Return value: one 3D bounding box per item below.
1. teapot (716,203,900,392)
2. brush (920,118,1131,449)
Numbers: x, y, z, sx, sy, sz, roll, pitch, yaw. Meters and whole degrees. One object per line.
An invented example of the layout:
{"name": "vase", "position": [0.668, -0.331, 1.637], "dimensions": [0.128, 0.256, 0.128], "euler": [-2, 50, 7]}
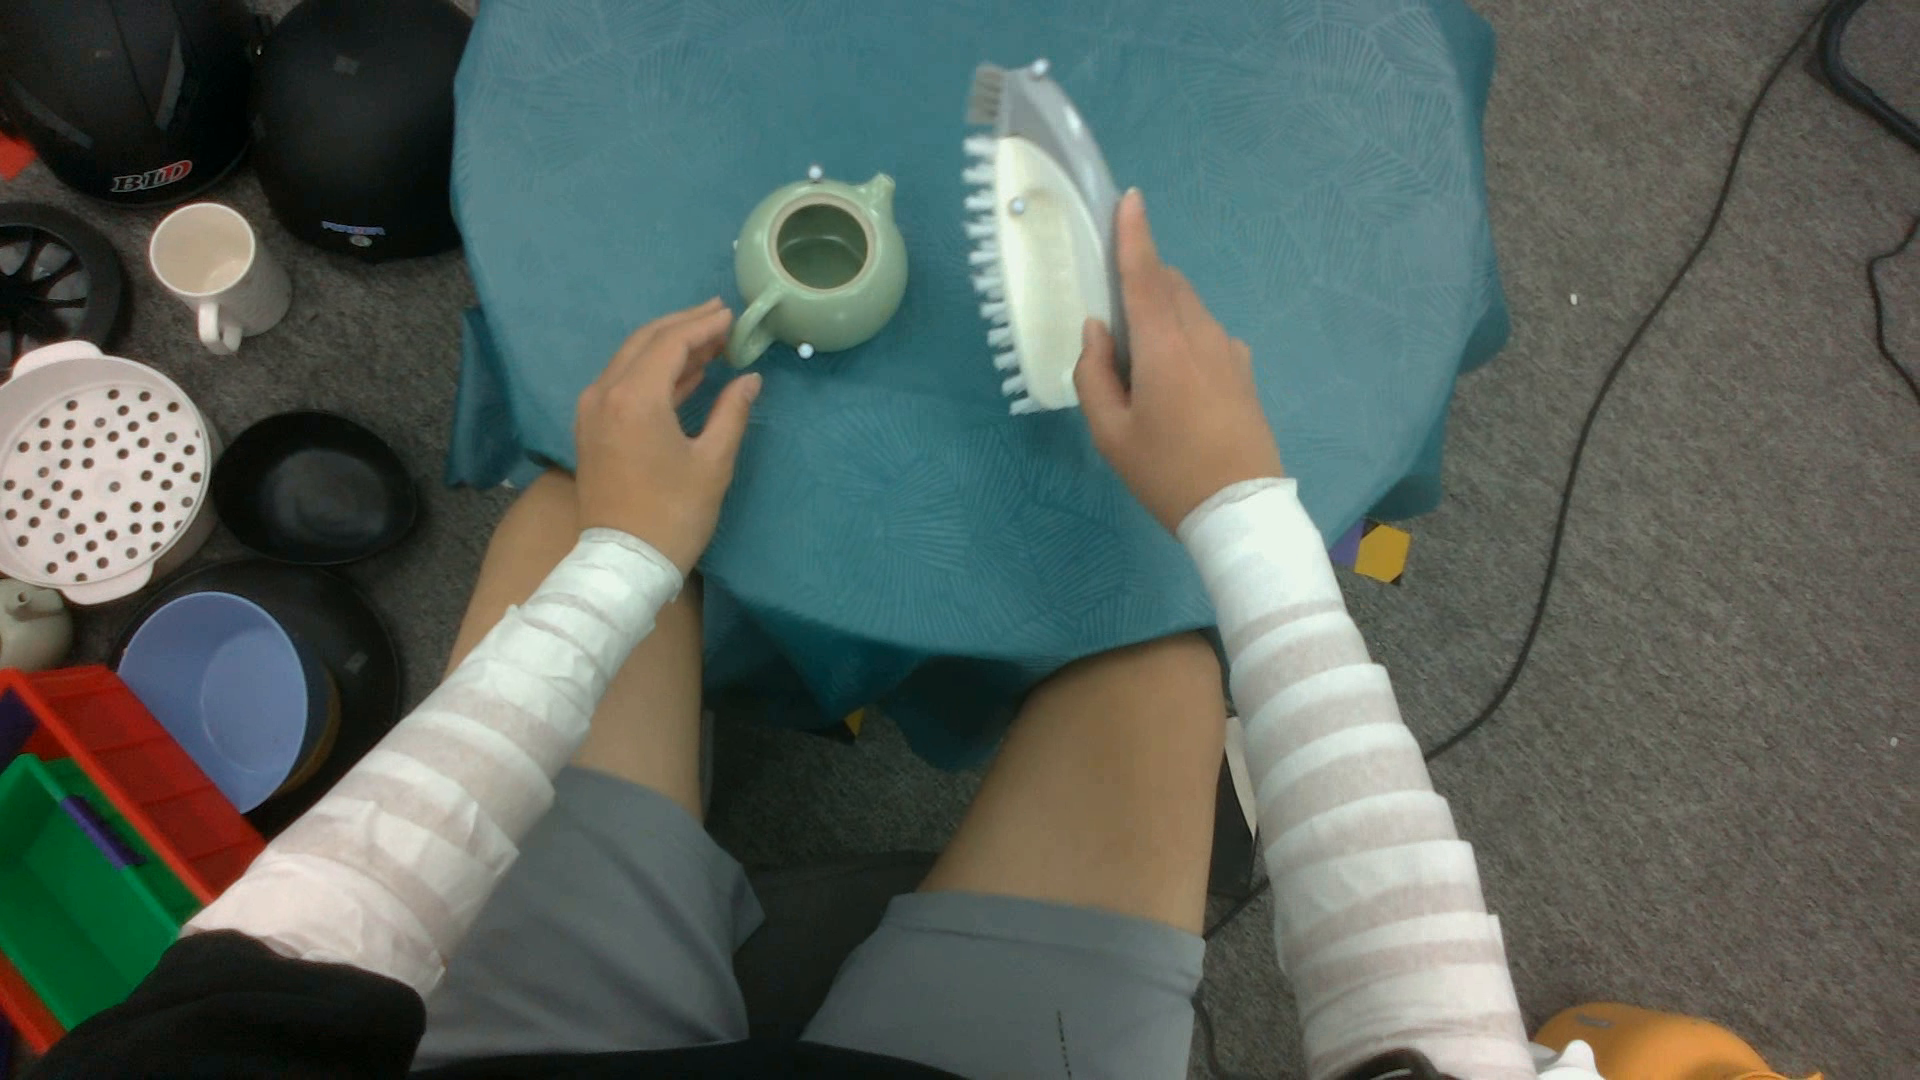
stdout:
{"name": "teapot", "position": [-0.085, -0.127, 0.743], "dimensions": [0.091, 0.061, 0.129], "euler": [43, 75, 3]}
{"name": "brush", "position": [0.035, -0.135, 0.698], "dimensions": [0.062, 0.094, 0.175], "euler": [-29, 106, -34]}
